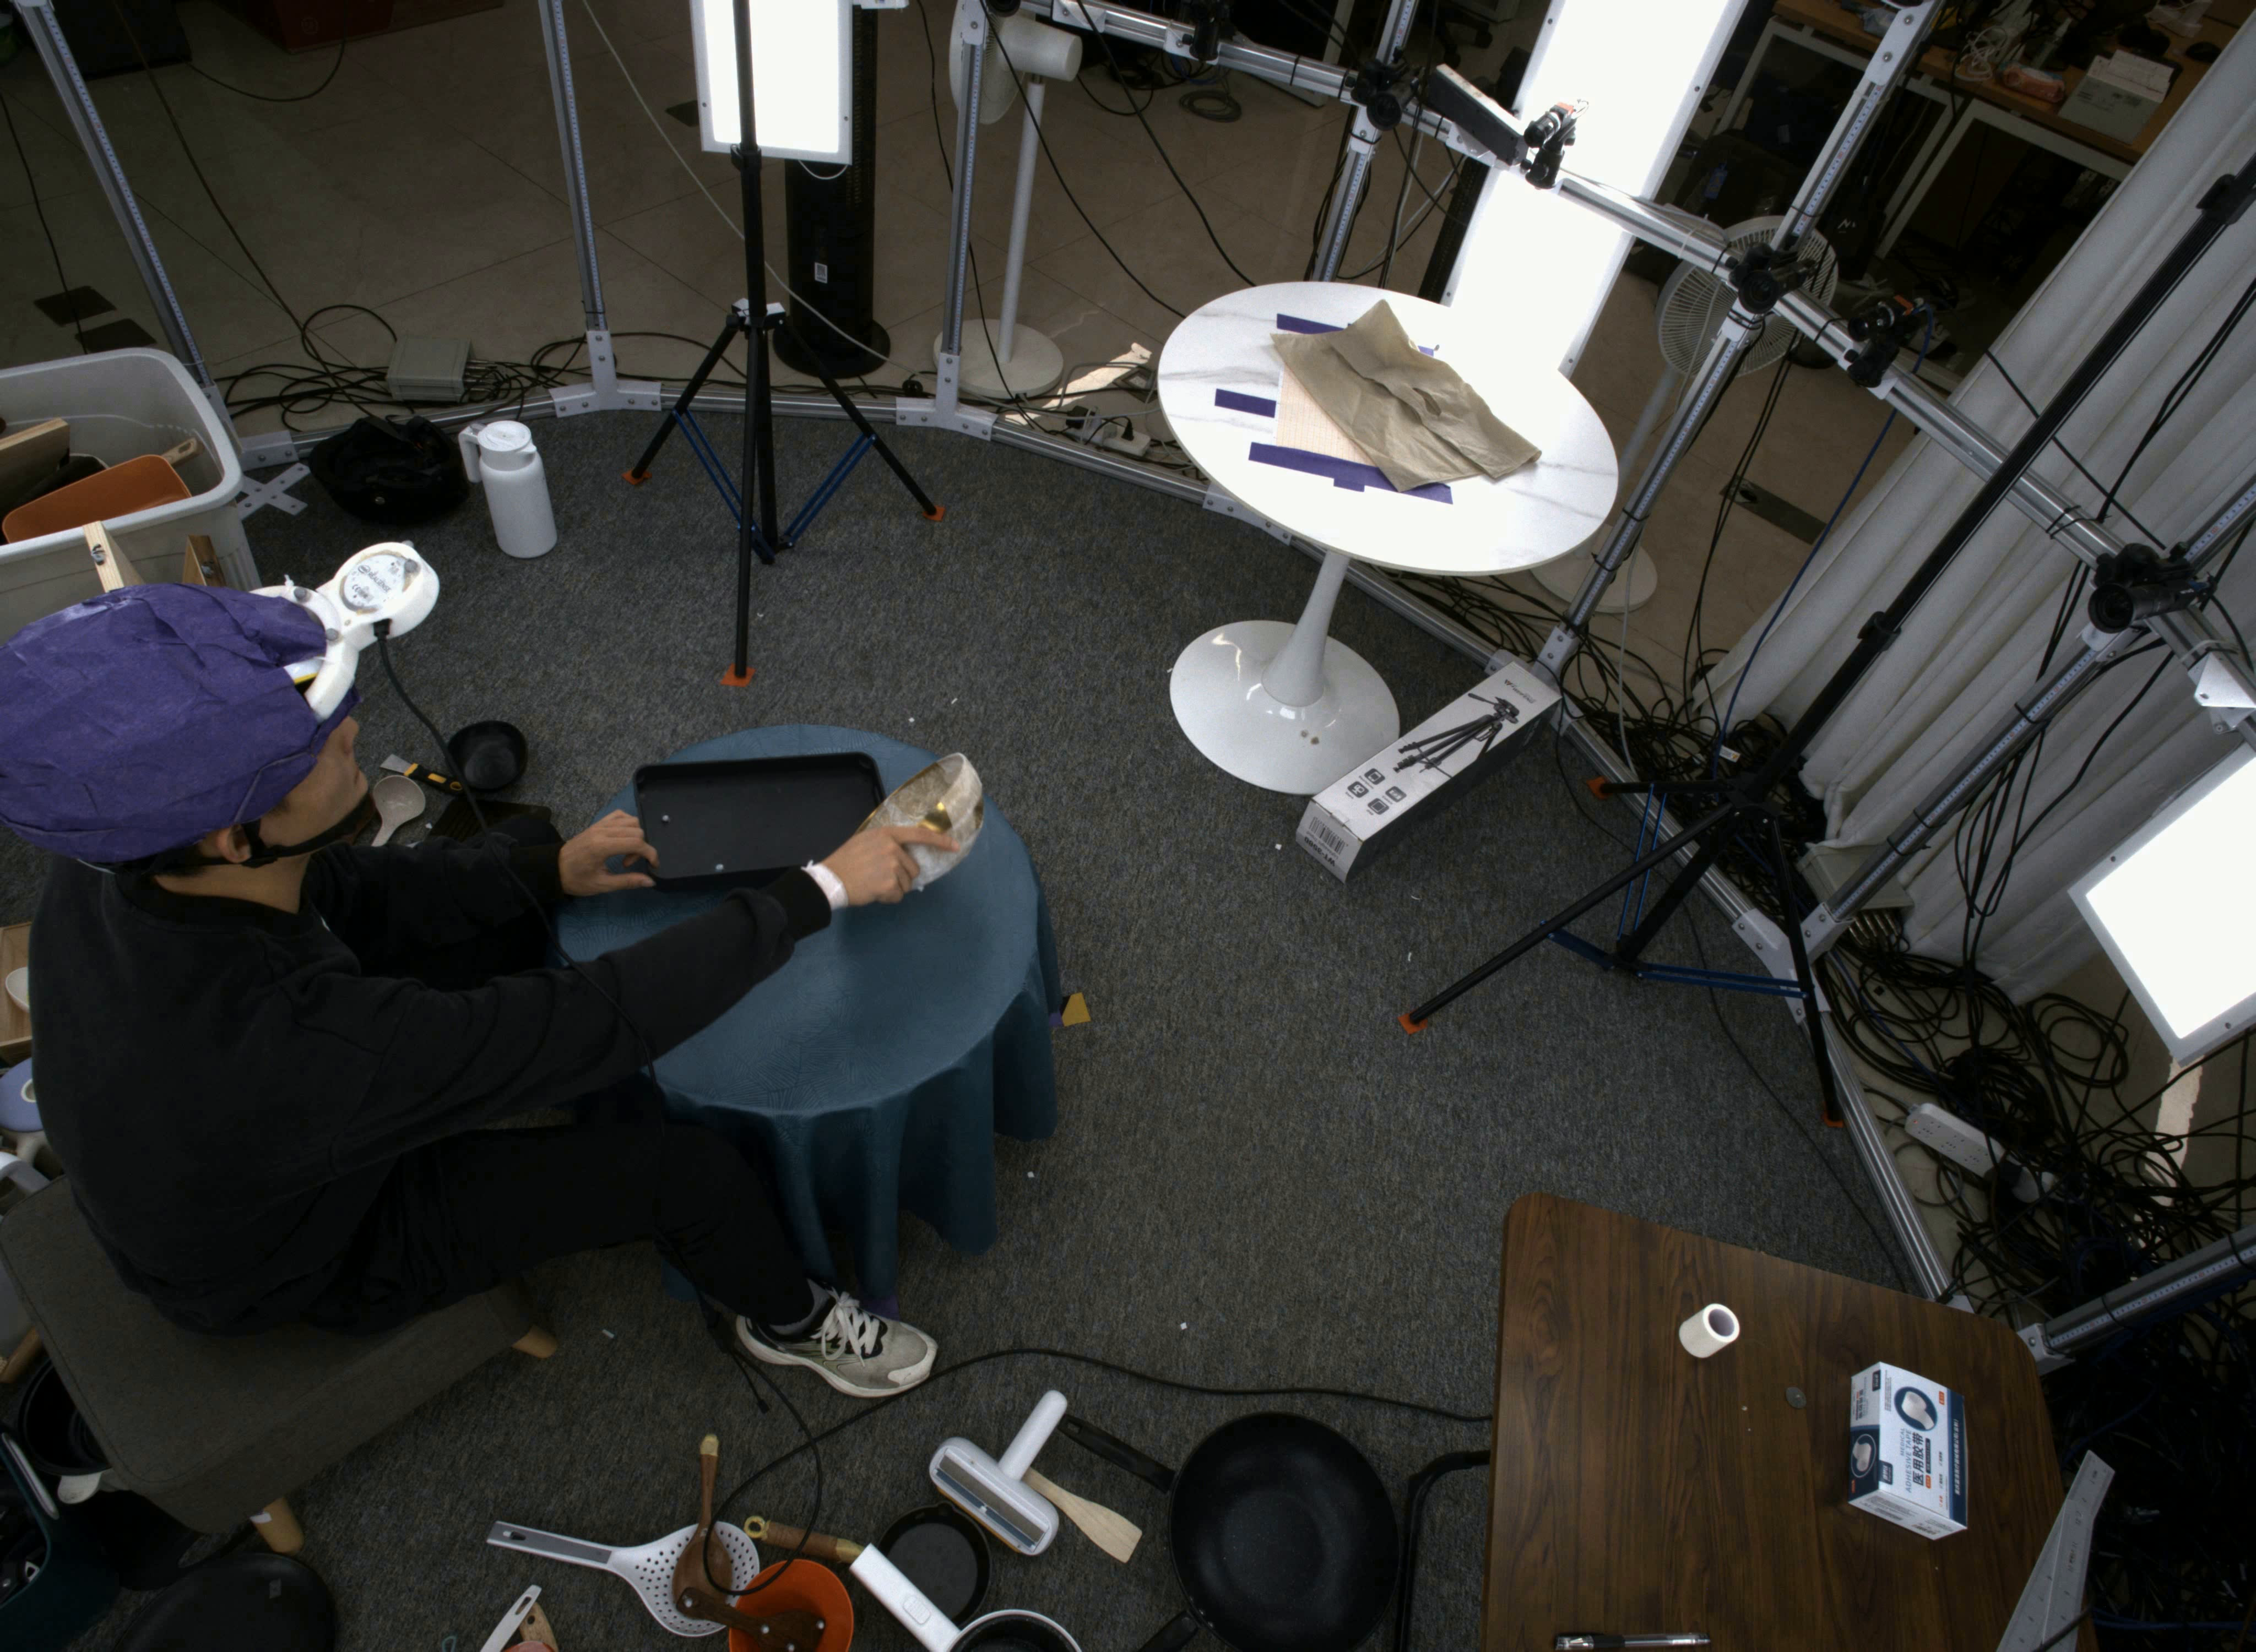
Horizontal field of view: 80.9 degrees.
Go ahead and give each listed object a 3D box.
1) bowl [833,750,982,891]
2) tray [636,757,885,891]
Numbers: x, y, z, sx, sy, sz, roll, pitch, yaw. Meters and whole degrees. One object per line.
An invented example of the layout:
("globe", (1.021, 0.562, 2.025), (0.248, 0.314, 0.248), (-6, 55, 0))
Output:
("bowl", (-0.255, 0.011, 1.607), (0.097, 0.210, 0.213), (50, 47, -23))
("tray", (-0.468, -0.008, 1.678), (0.321, 0.037, 0.180), (-3, 53, -28))
